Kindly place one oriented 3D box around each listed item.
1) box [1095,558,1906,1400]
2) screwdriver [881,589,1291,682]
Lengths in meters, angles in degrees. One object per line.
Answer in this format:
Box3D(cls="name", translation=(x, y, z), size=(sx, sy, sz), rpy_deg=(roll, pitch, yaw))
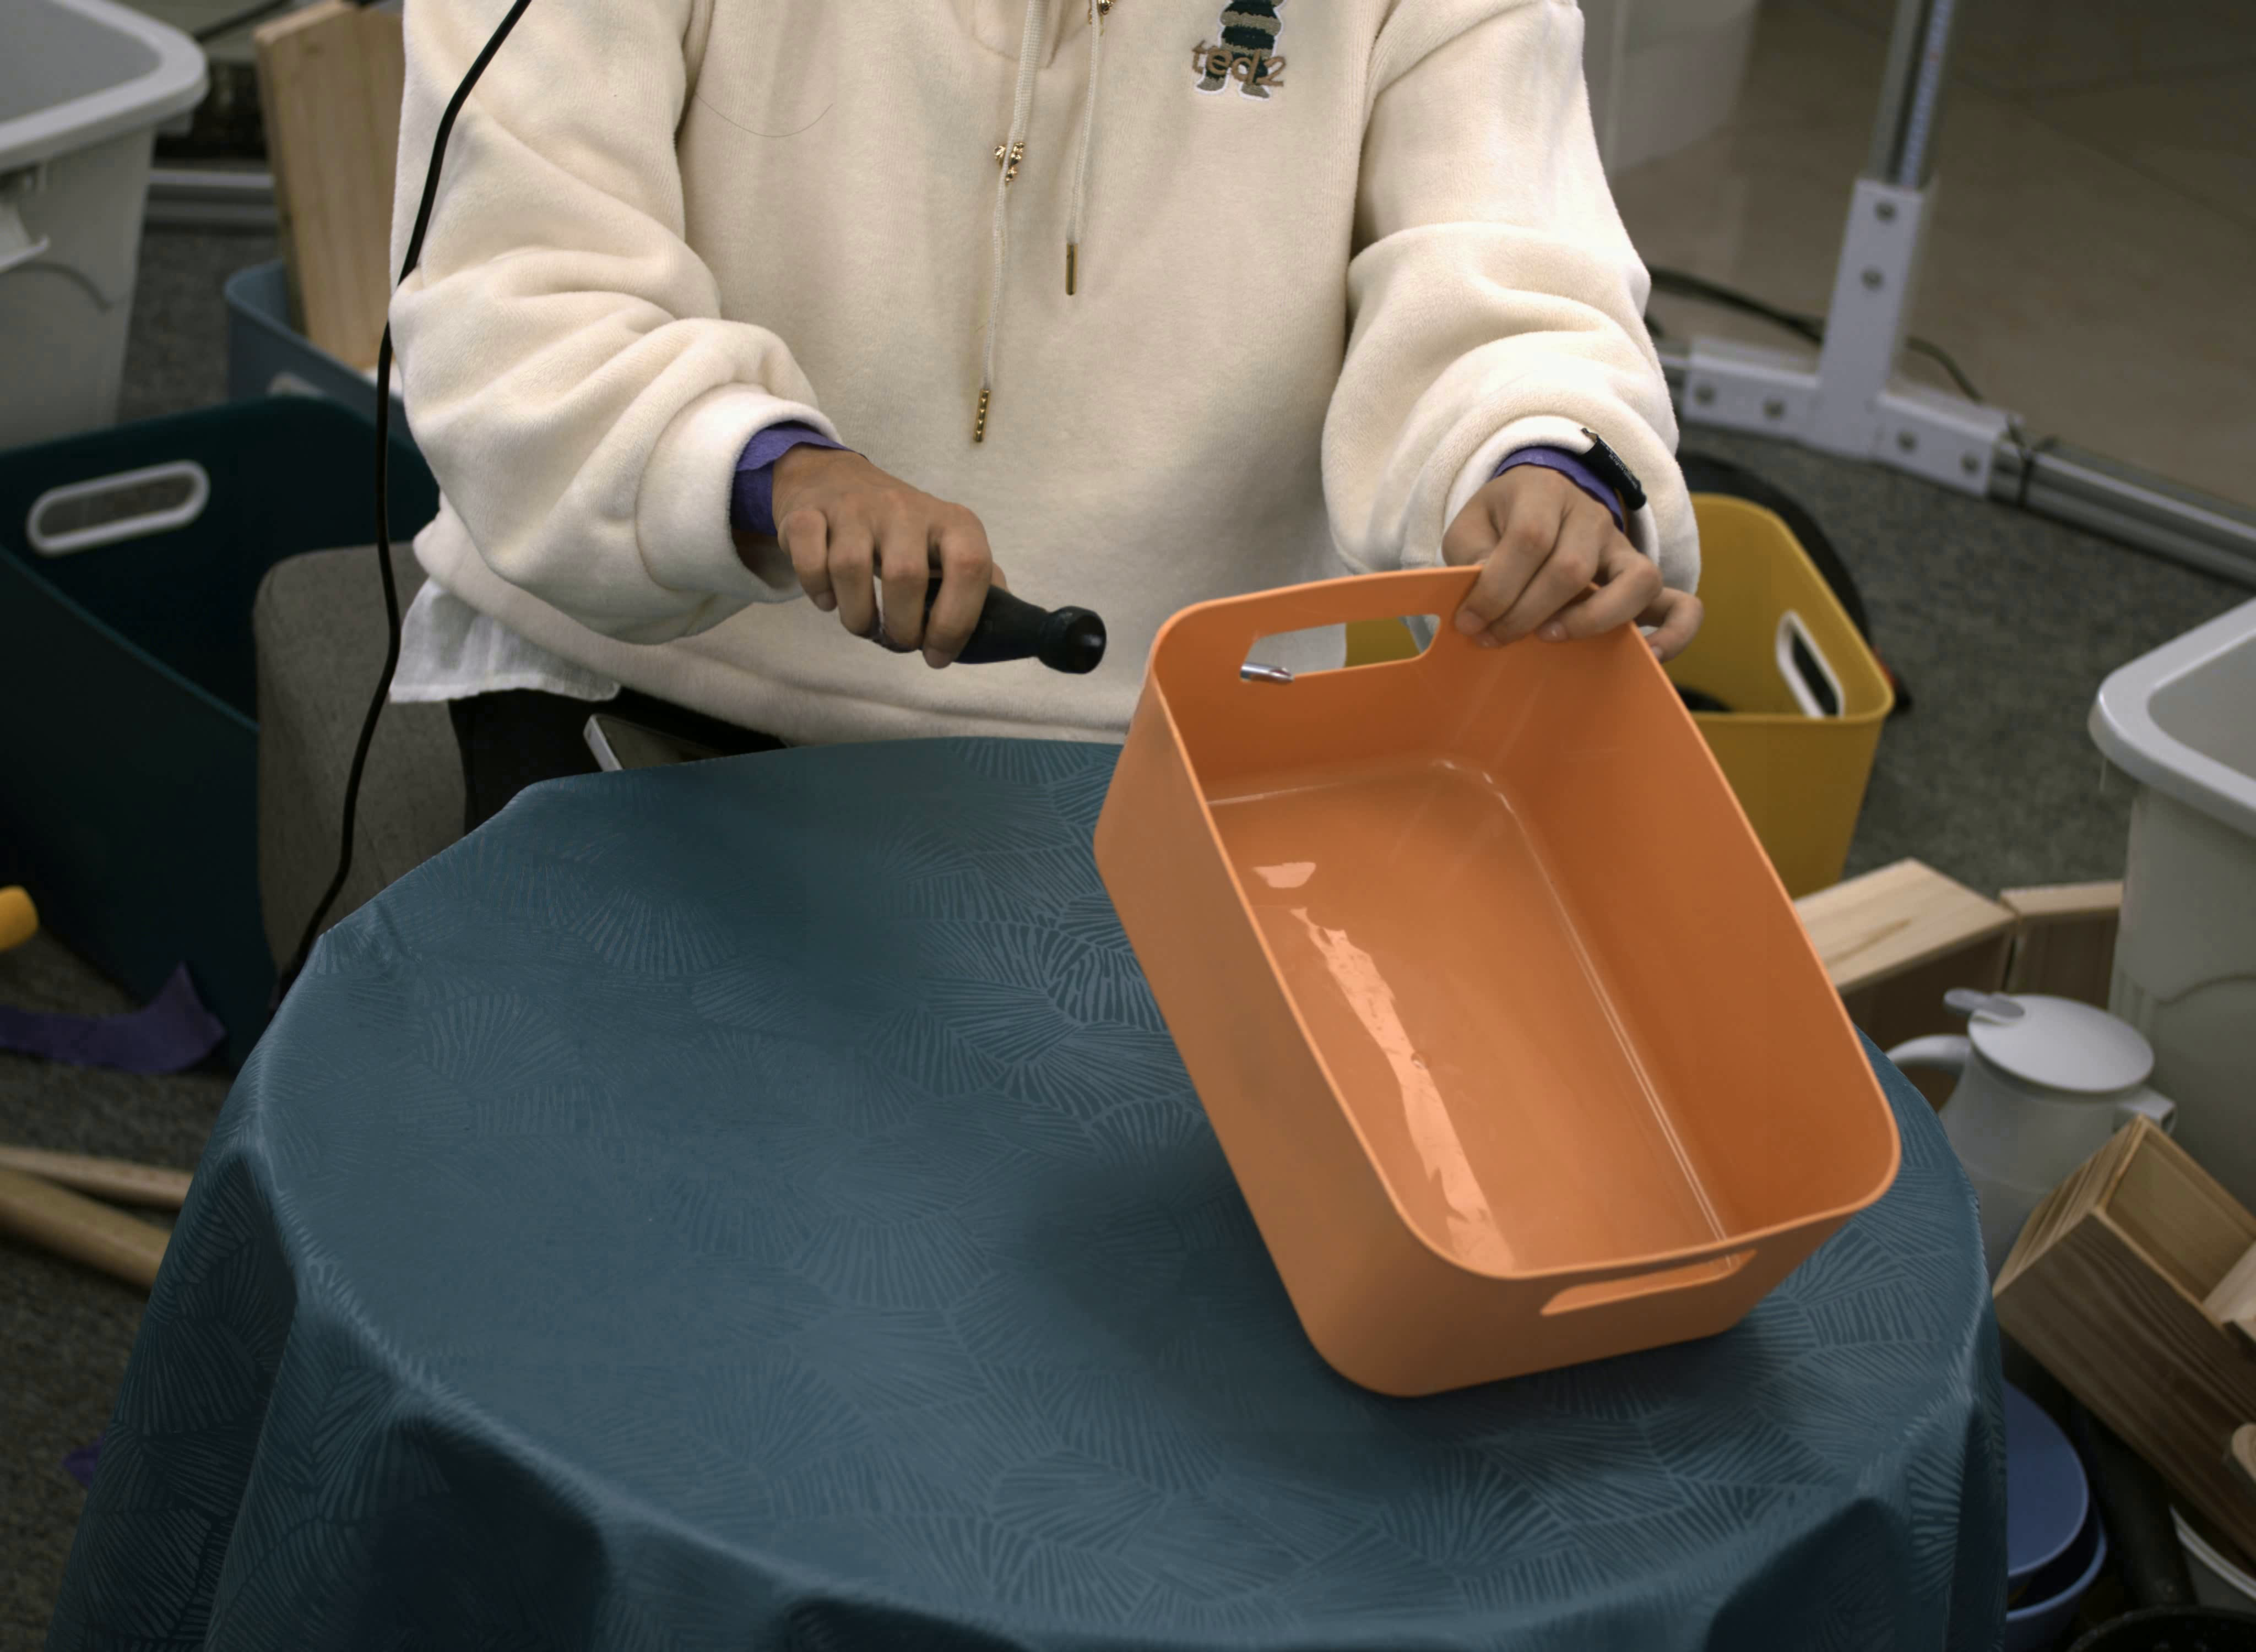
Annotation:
Box3D(cls="box", translation=(0.114, 0.052, 1.754), size=(0.198, 0.102, 0.275), rpy_deg=(-9, 58, -26))
Box3D(cls="screwdriver", translation=(-0.017, -0.061, 1.852), size=(0.031, 0.031, 0.197), rpy_deg=(-17, 19, -39))
